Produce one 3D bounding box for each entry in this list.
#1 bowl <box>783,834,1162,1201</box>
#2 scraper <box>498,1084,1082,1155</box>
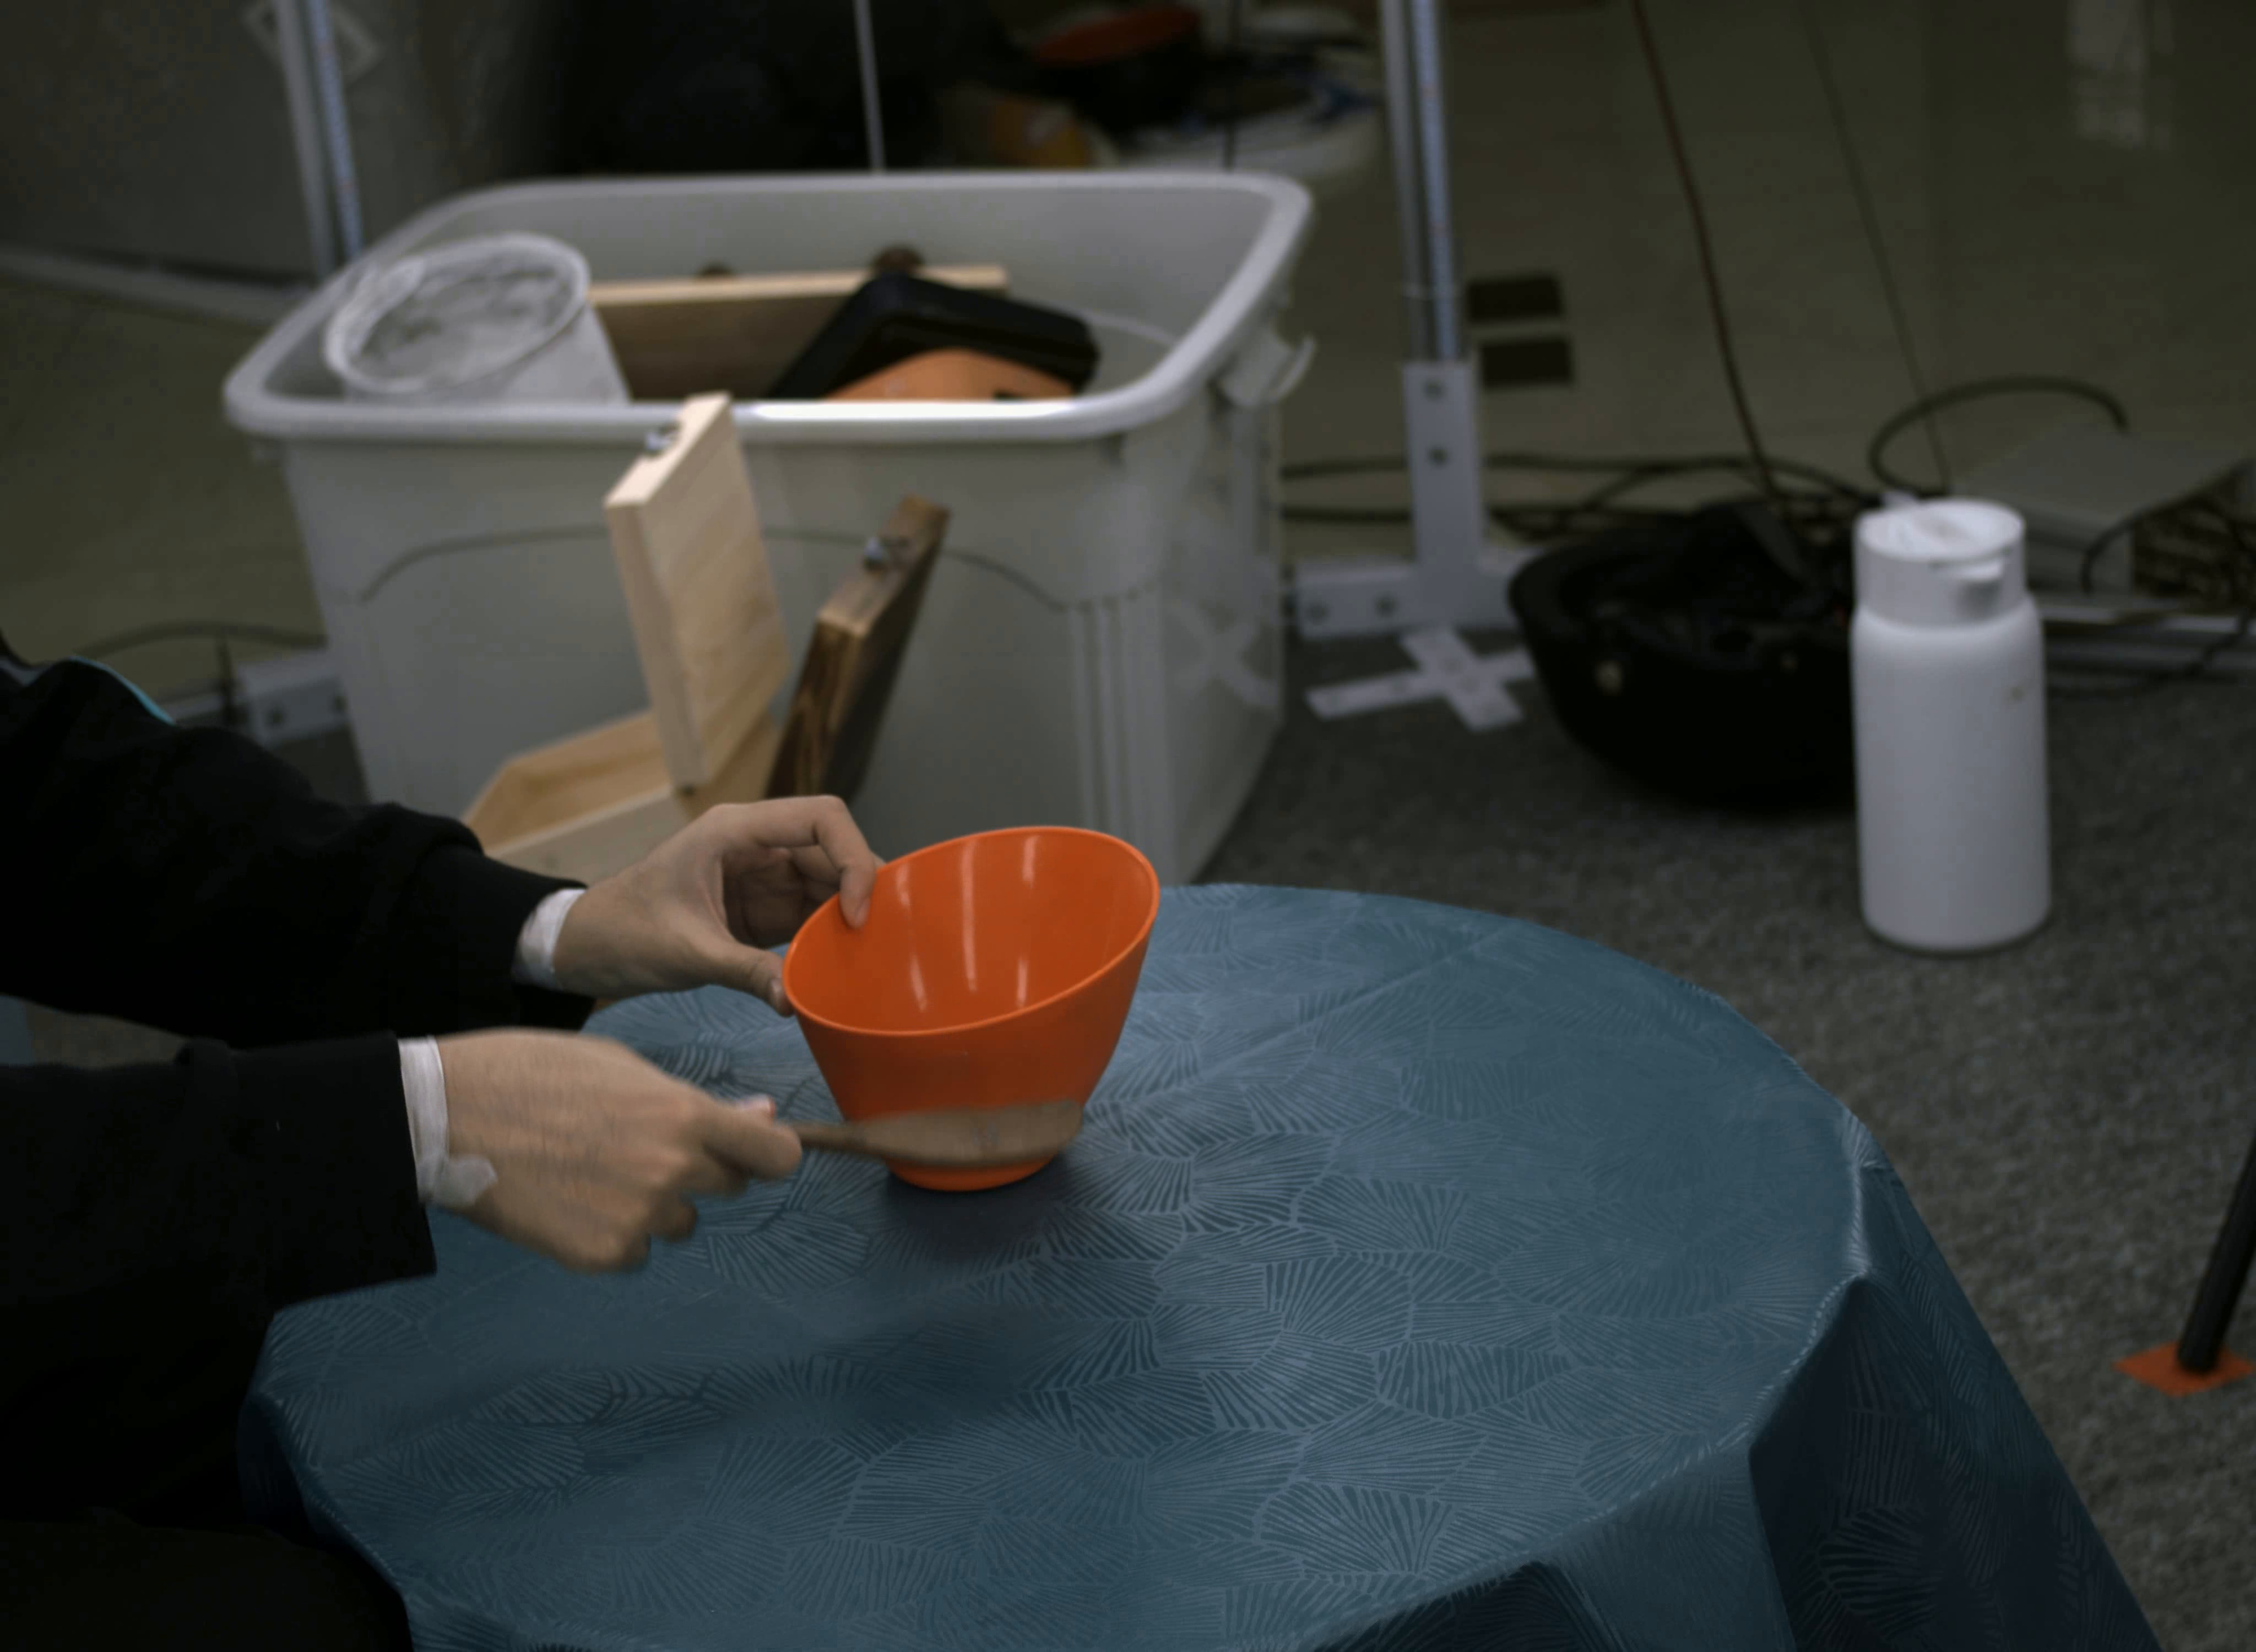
[{"bbox_3d":[-0.055,0.079,2.175,0.148,0.106,0.146,-5,25,3],"label":"bowl"},{"bbox_3d":[-0.122,0.107,2.040,0.211,0.011,0.075,-1,12,3],"label":"scraper"}]
